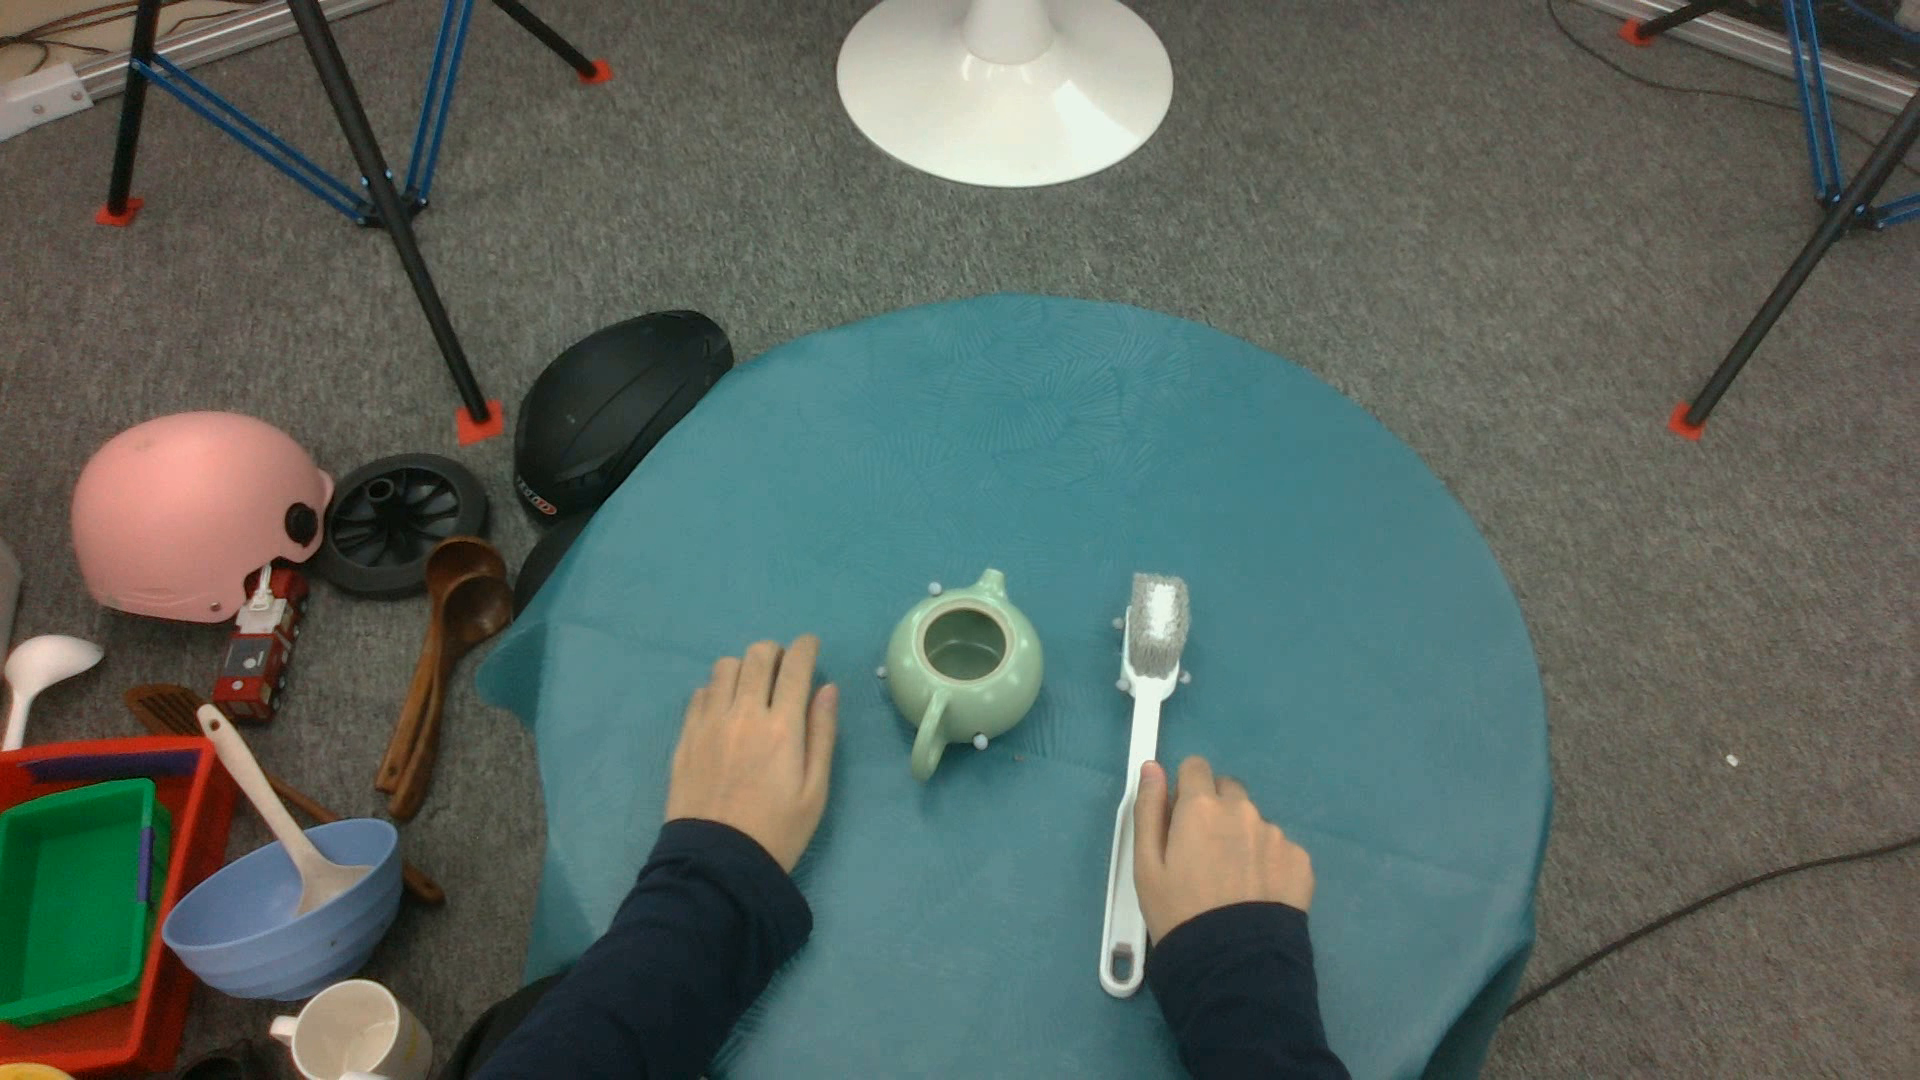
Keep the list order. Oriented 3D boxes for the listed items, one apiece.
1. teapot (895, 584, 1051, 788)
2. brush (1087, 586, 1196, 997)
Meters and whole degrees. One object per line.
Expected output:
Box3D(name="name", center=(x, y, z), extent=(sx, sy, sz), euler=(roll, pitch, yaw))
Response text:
Box3D(name="teapot", center=(0.003, 0.088, 0.800), extent=(0.091, 0.060, 0.129), euler=(24, 58, 9))
Box3D(name="brush", center=(0.103, 0.131, 0.777), extent=(0.034, 0.050, 0.245), euler=(12, 55, 3))
